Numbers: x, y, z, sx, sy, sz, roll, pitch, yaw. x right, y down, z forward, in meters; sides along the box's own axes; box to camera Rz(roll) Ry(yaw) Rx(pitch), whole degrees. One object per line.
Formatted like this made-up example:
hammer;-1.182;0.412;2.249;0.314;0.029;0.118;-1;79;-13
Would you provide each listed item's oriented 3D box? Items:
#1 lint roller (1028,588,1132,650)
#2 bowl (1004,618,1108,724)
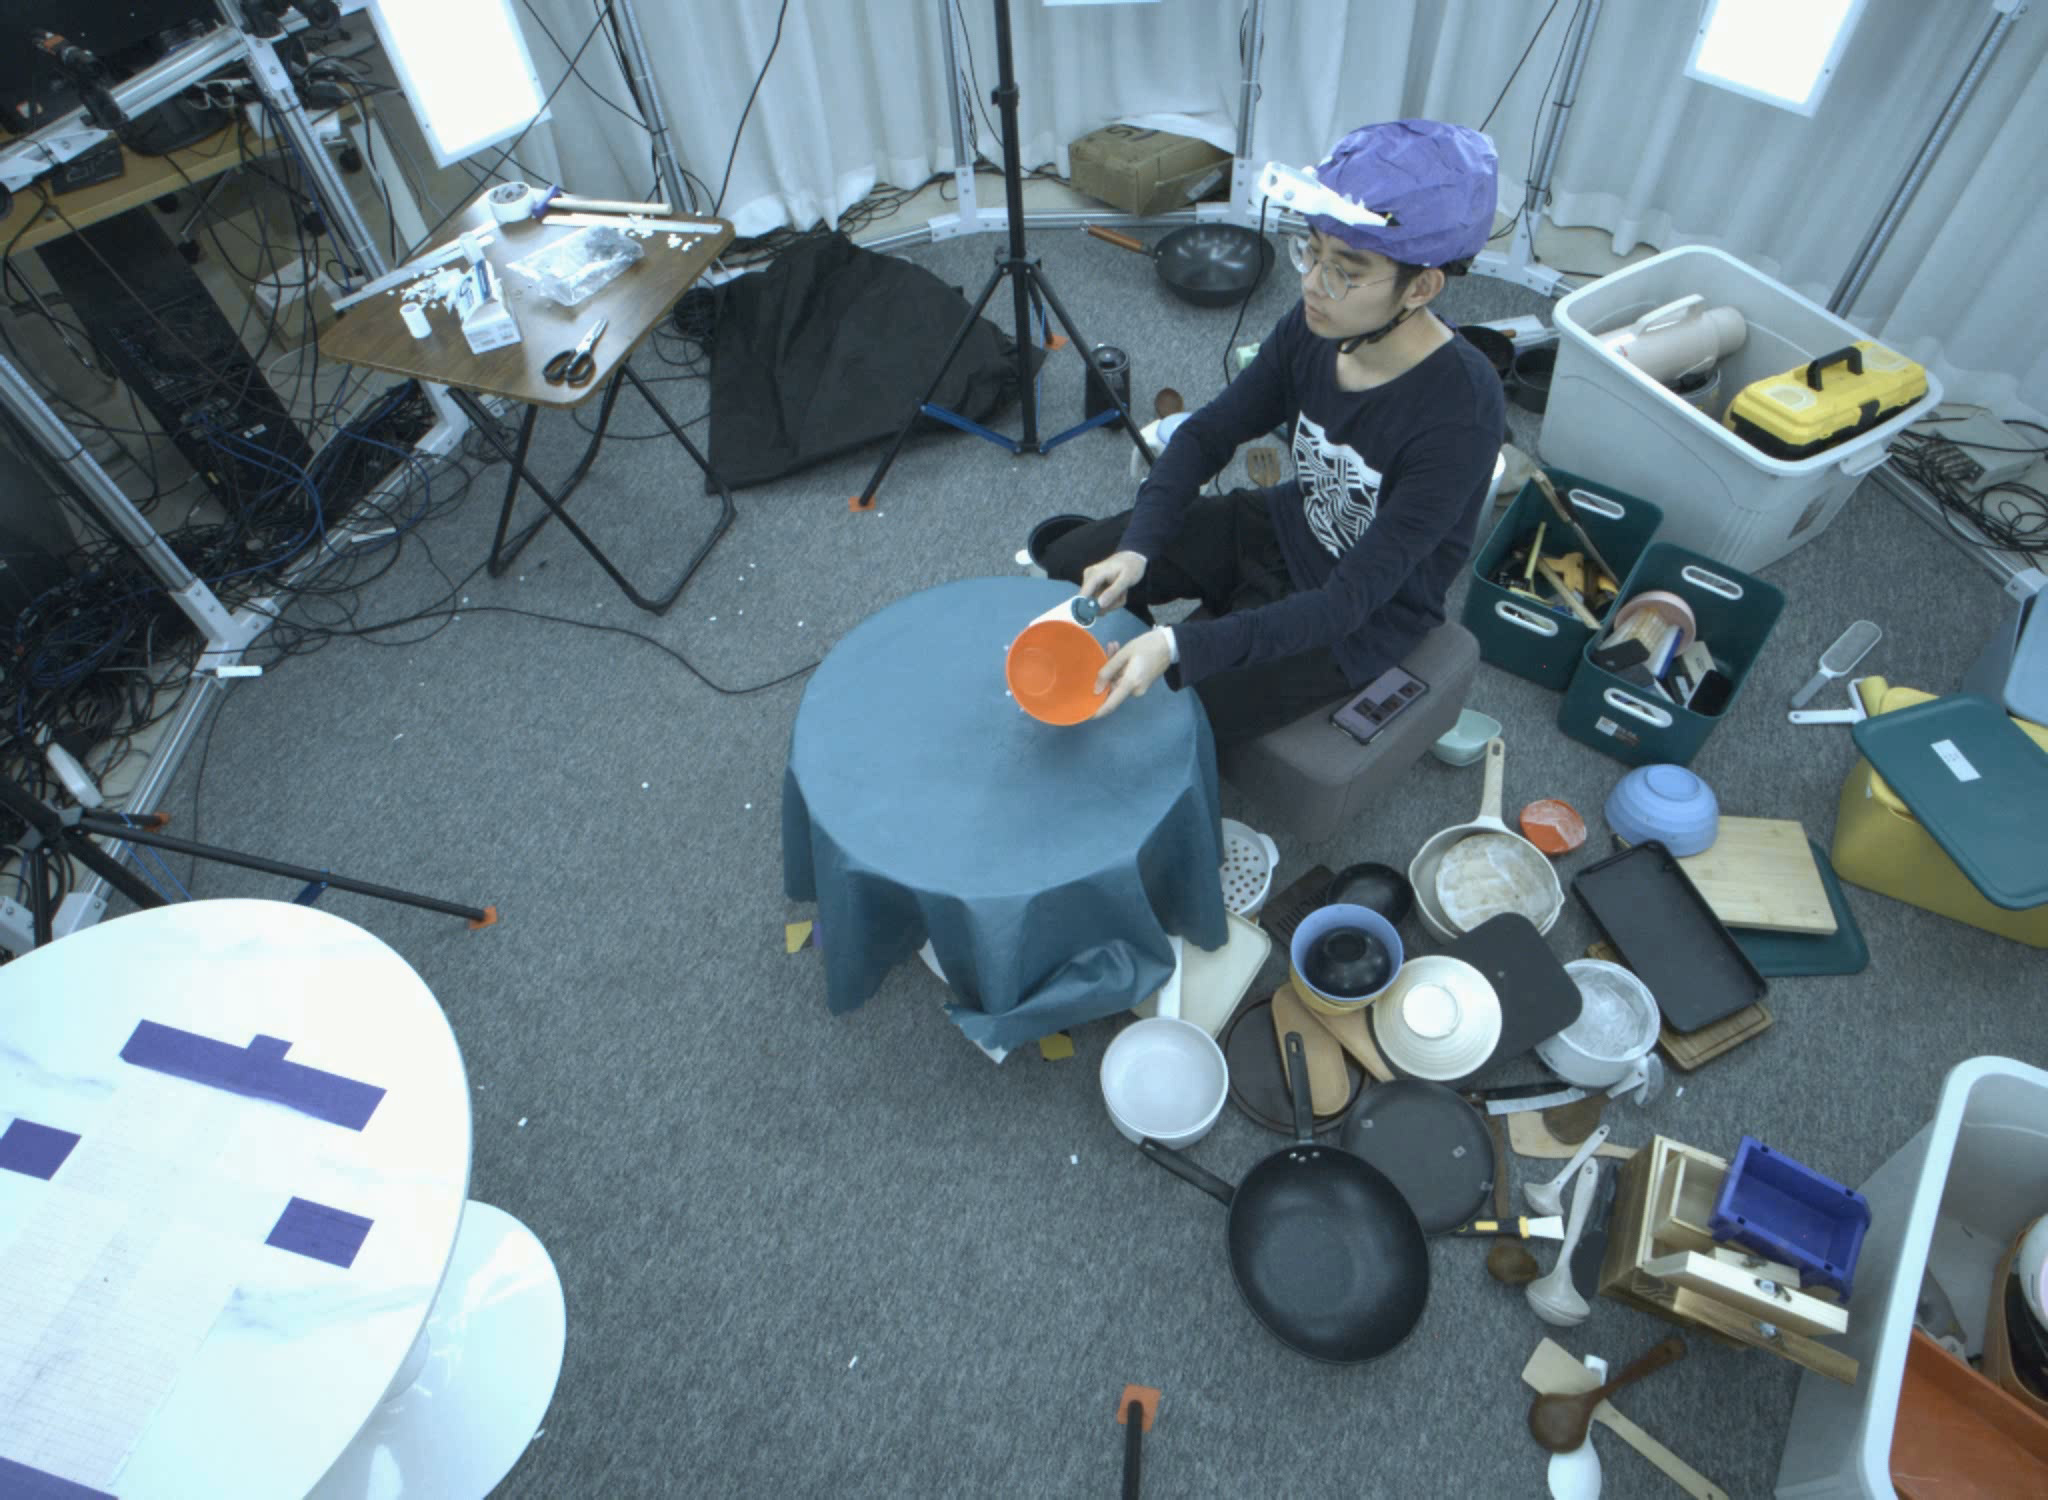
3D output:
lint roller;0.093;-0.213;1.786;0.182;0.132;0.048;-40;100;-39
bowl;0.031;-0.106;1.713;0.150;0.103;0.148;1;87;-24
